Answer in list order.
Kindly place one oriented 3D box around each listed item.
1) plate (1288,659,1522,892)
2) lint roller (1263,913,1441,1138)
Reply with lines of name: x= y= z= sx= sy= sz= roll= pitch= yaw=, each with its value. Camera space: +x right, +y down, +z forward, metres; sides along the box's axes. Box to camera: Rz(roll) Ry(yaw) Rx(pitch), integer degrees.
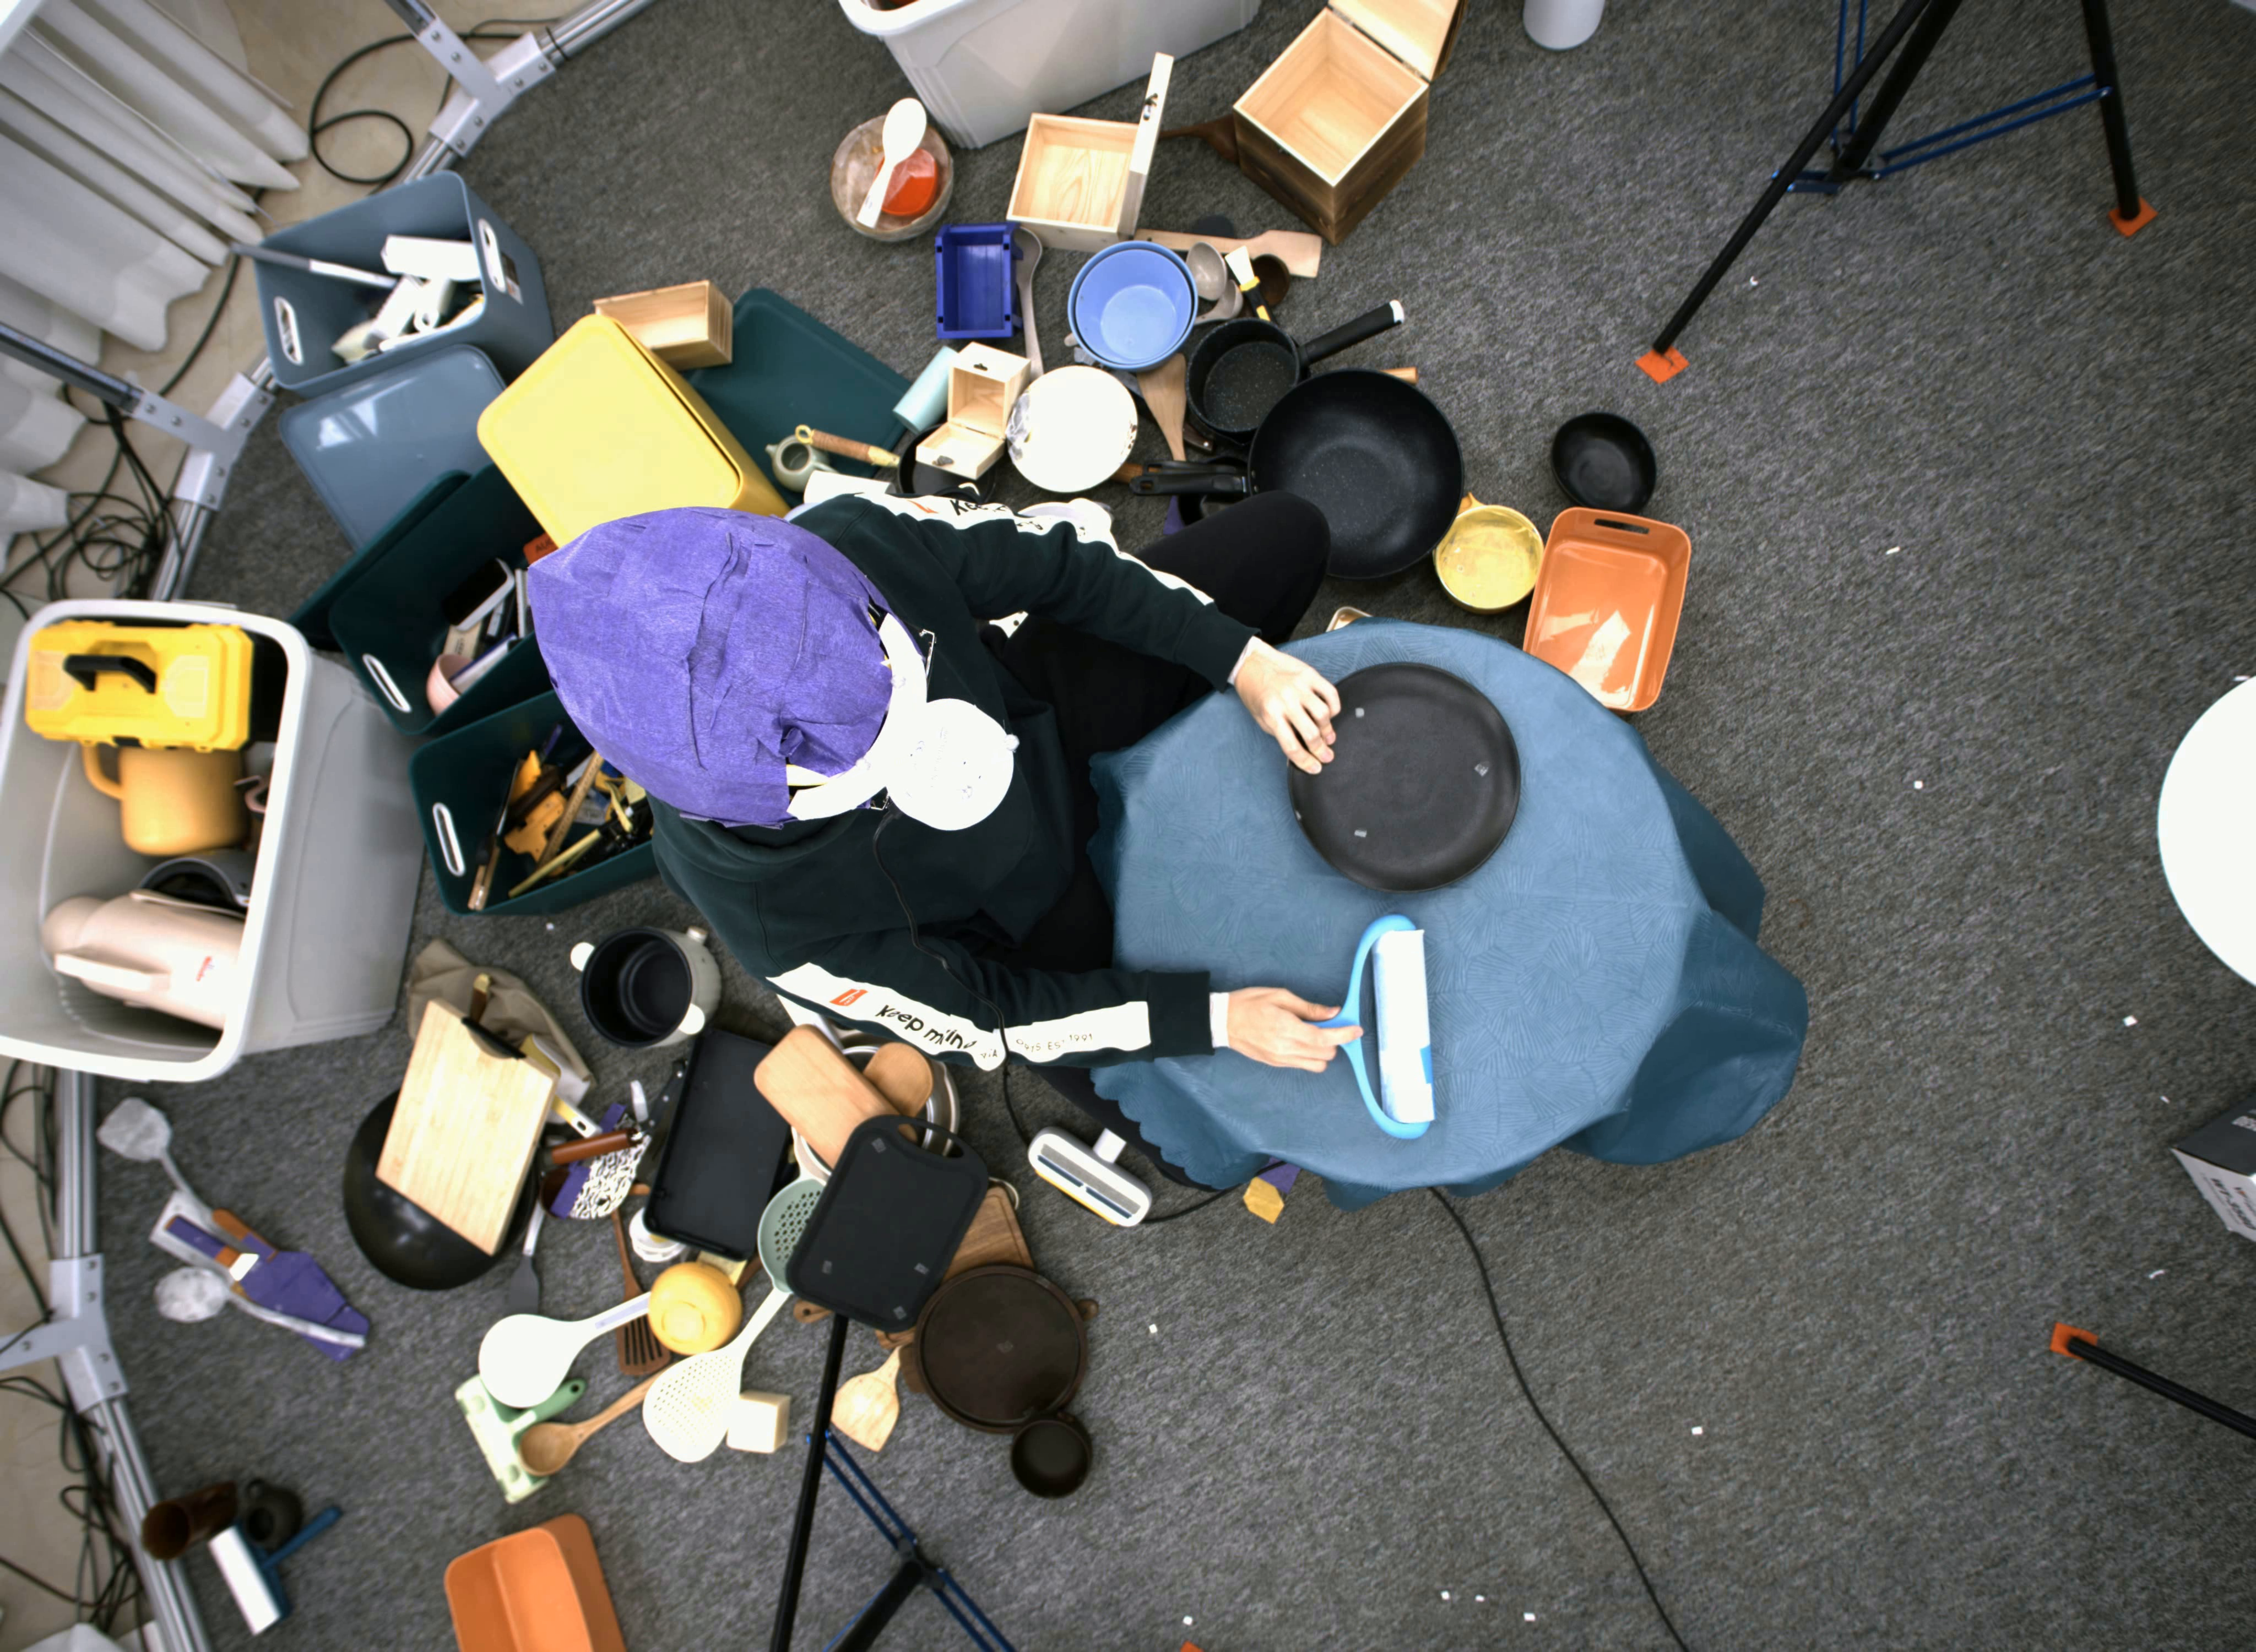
plate: x=0.287 y=-0.054 z=1.434 sx=0.245 sy=0.023 sz=0.243 roll=0 pitch=88 yaw=2
lint roller: x=0.227 y=0.210 z=1.428 sx=0.181 sy=0.068 sz=0.228 roll=-7 pitch=86 yaw=11
